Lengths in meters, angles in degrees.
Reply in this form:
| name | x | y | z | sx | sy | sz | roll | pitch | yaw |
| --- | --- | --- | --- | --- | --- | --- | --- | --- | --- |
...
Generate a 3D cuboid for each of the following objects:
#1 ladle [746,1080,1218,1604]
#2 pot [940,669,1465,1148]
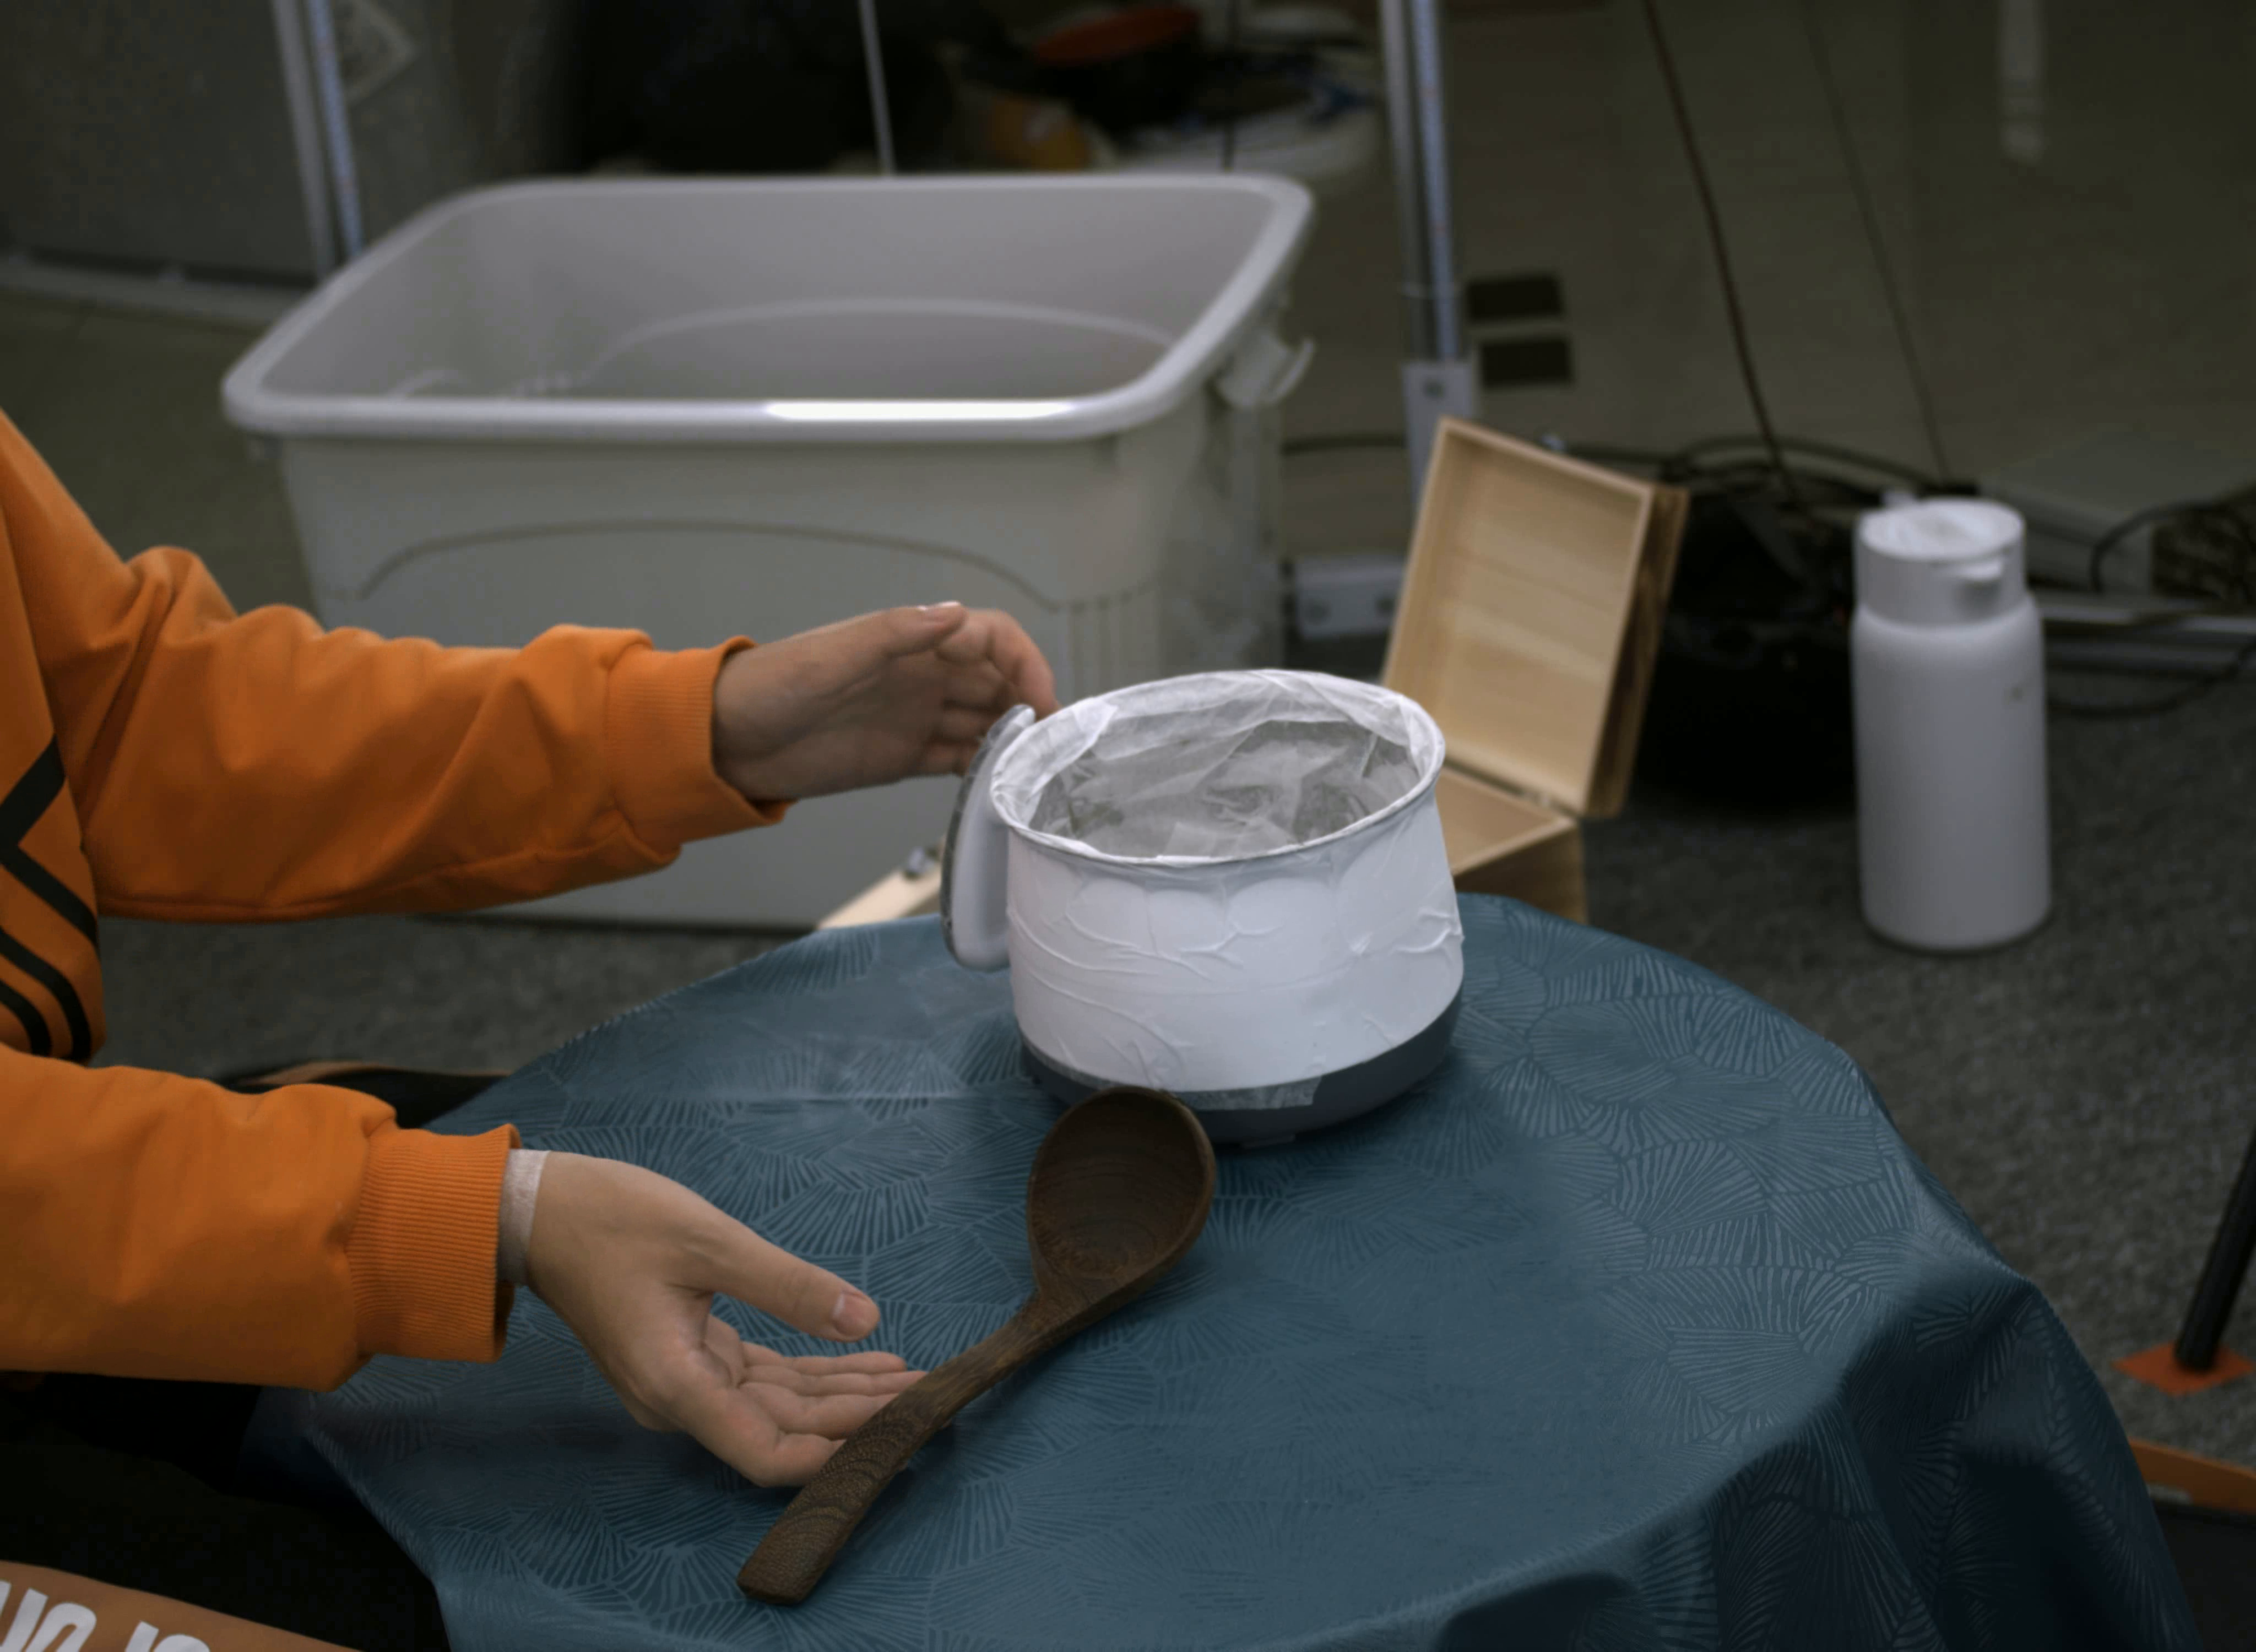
| name | x | y | z | sx | sy | sz | roll | pitch | yaw |
| --- | --- | --- | --- | --- | --- | --- | --- | --- | --- |
| ladle | -0.055 | 0.176 | 1.998 | 0.076 | 0.072 | 0.271 | 7 | 27 | 31 |
| pot | 0.018 | 0.028 | 2.216 | 0.232 | 0.139 | 0.177 | 14 | 31 | 35 |
